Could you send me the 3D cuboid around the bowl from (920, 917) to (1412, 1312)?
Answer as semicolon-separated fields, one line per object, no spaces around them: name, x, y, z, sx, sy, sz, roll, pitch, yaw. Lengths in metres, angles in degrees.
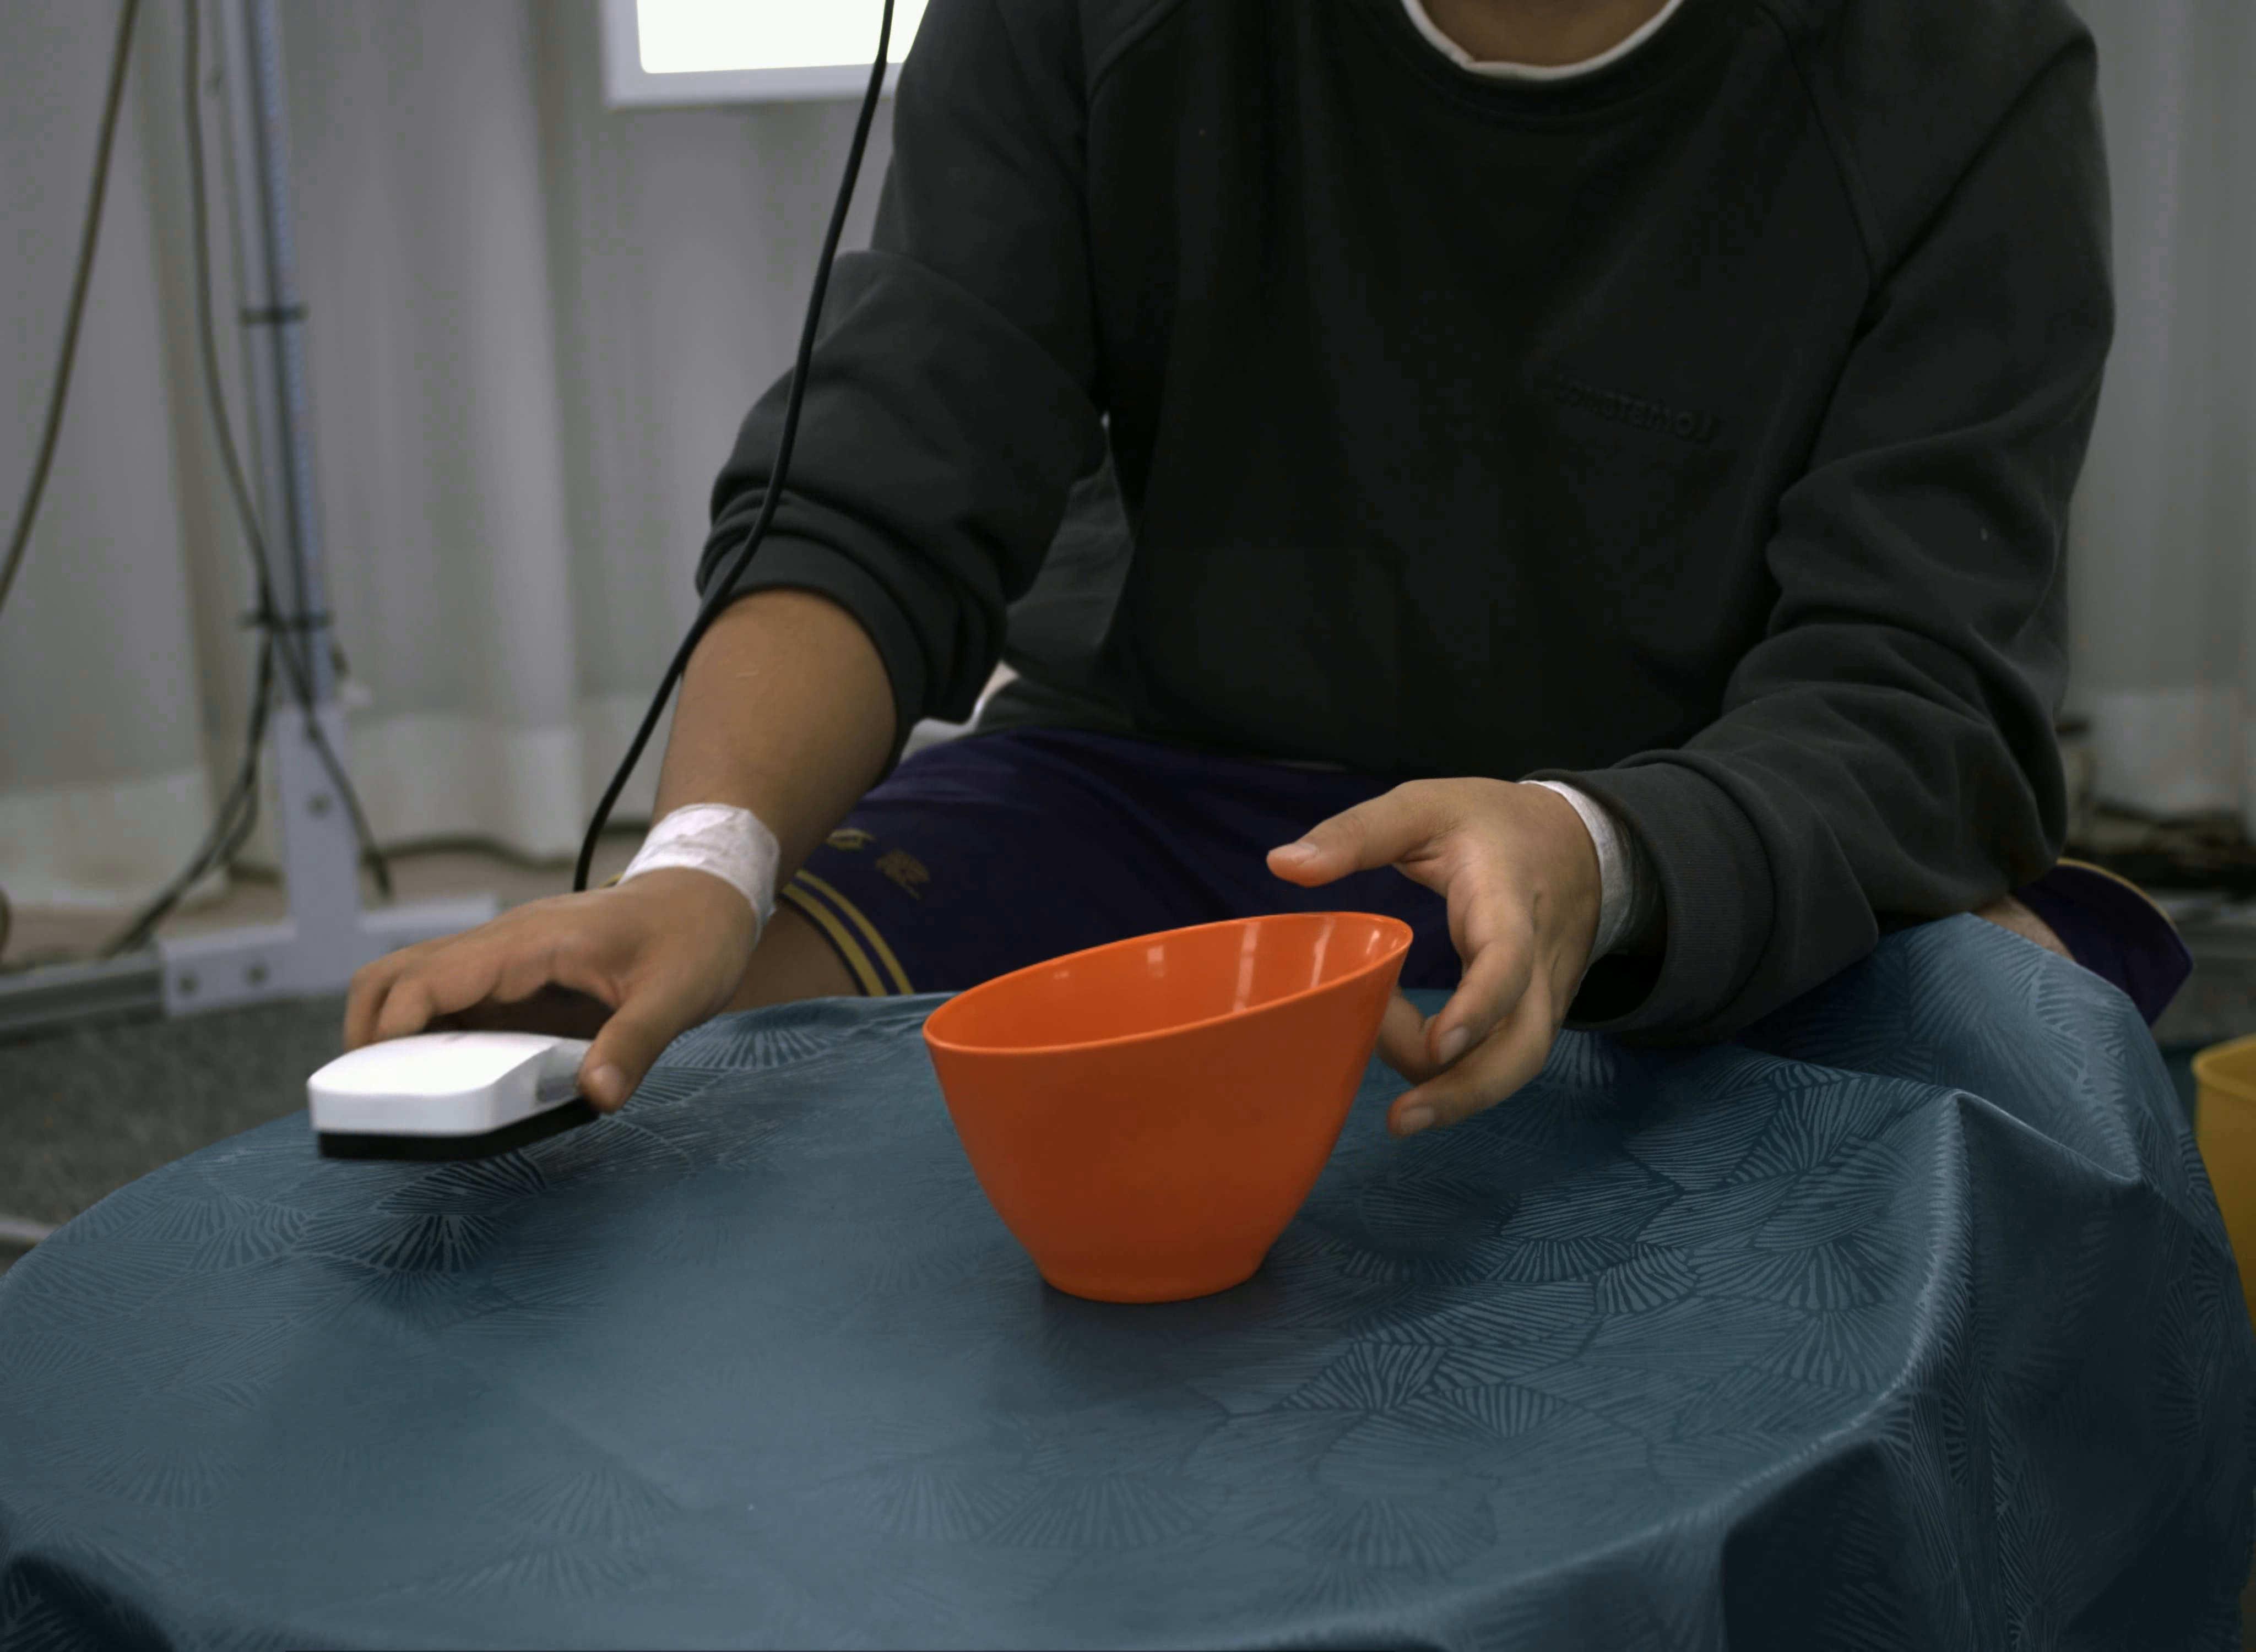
bowl;0.013;0.086;1.628;0.147;0.104;0.149;-4;14;1

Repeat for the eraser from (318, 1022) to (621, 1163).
eraser;-0.204;0.080;1.717;0.063;0.034;0.131;1;5;15
